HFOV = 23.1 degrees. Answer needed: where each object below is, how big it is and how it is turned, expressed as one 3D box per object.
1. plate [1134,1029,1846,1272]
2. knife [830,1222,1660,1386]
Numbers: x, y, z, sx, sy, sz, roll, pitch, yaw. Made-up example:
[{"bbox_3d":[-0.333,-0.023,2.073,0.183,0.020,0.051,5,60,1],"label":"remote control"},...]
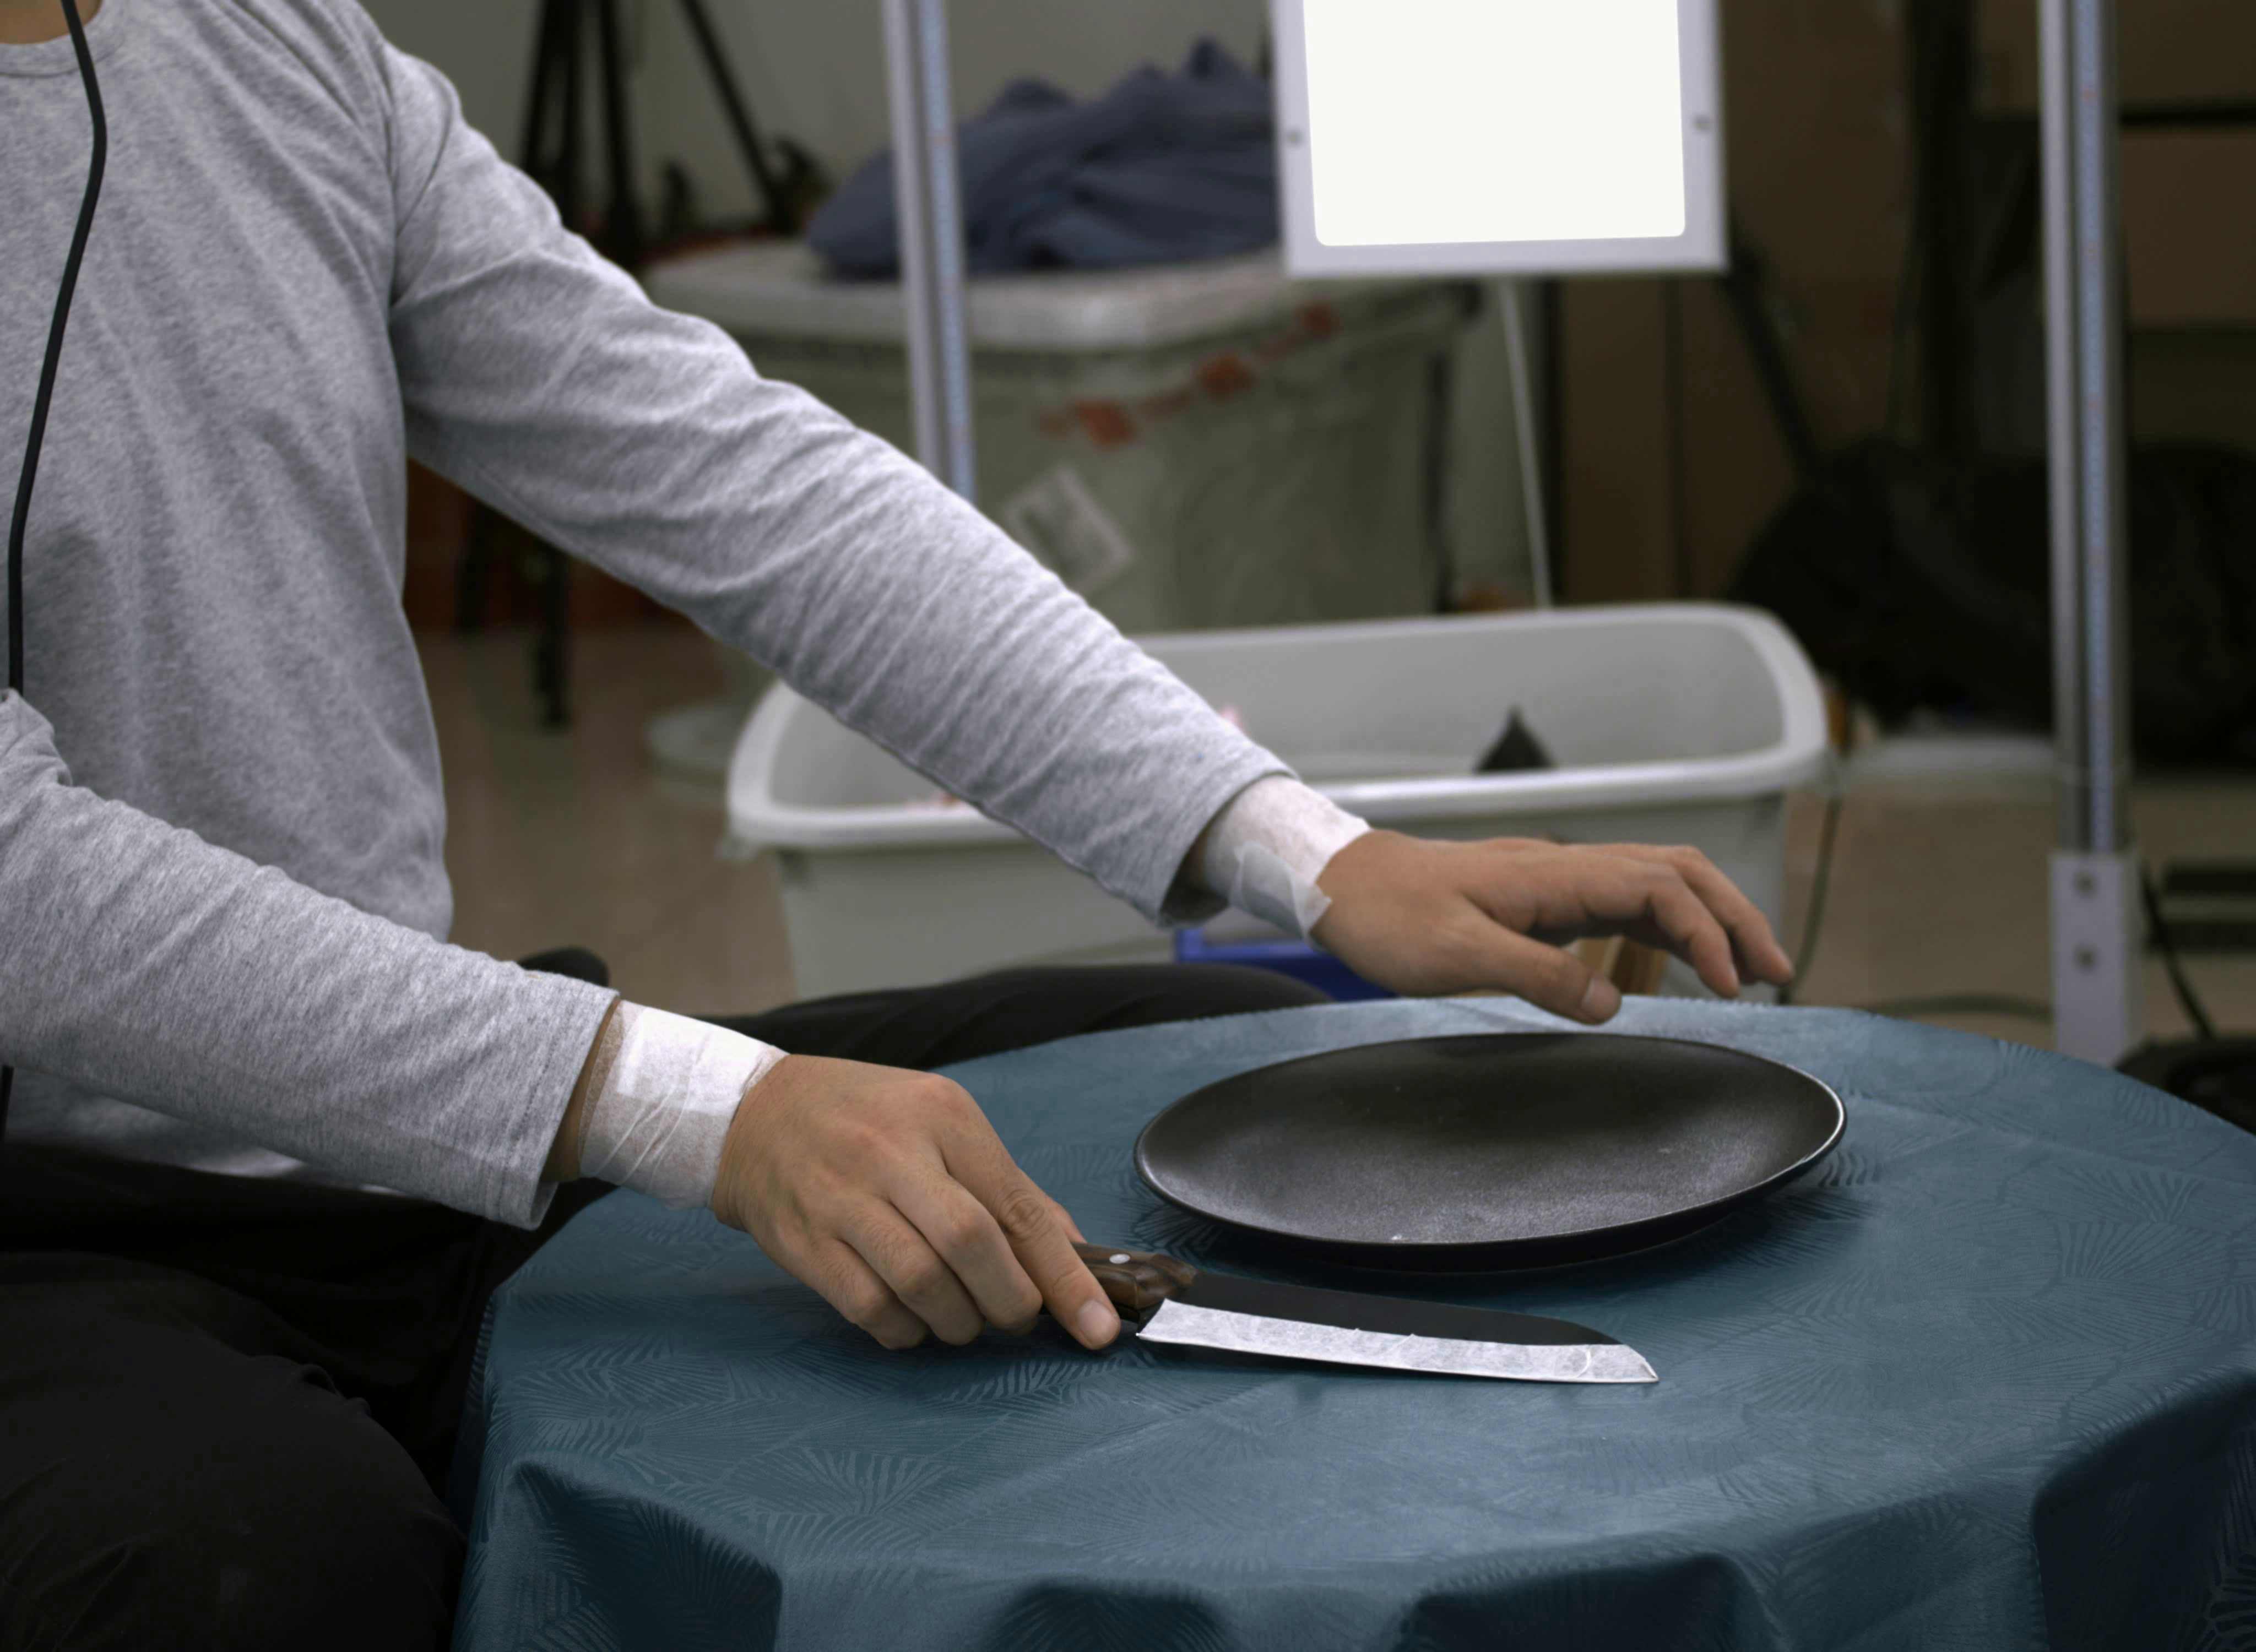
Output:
[{"bbox_3d":[0.123,0.113,1.867,0.244,0.023,0.244,-5,14,0],"label":"plate"},{"bbox_3d":[0.032,0.153,1.737,0.294,0.020,0.049,6,28,26],"label":"knife"}]
